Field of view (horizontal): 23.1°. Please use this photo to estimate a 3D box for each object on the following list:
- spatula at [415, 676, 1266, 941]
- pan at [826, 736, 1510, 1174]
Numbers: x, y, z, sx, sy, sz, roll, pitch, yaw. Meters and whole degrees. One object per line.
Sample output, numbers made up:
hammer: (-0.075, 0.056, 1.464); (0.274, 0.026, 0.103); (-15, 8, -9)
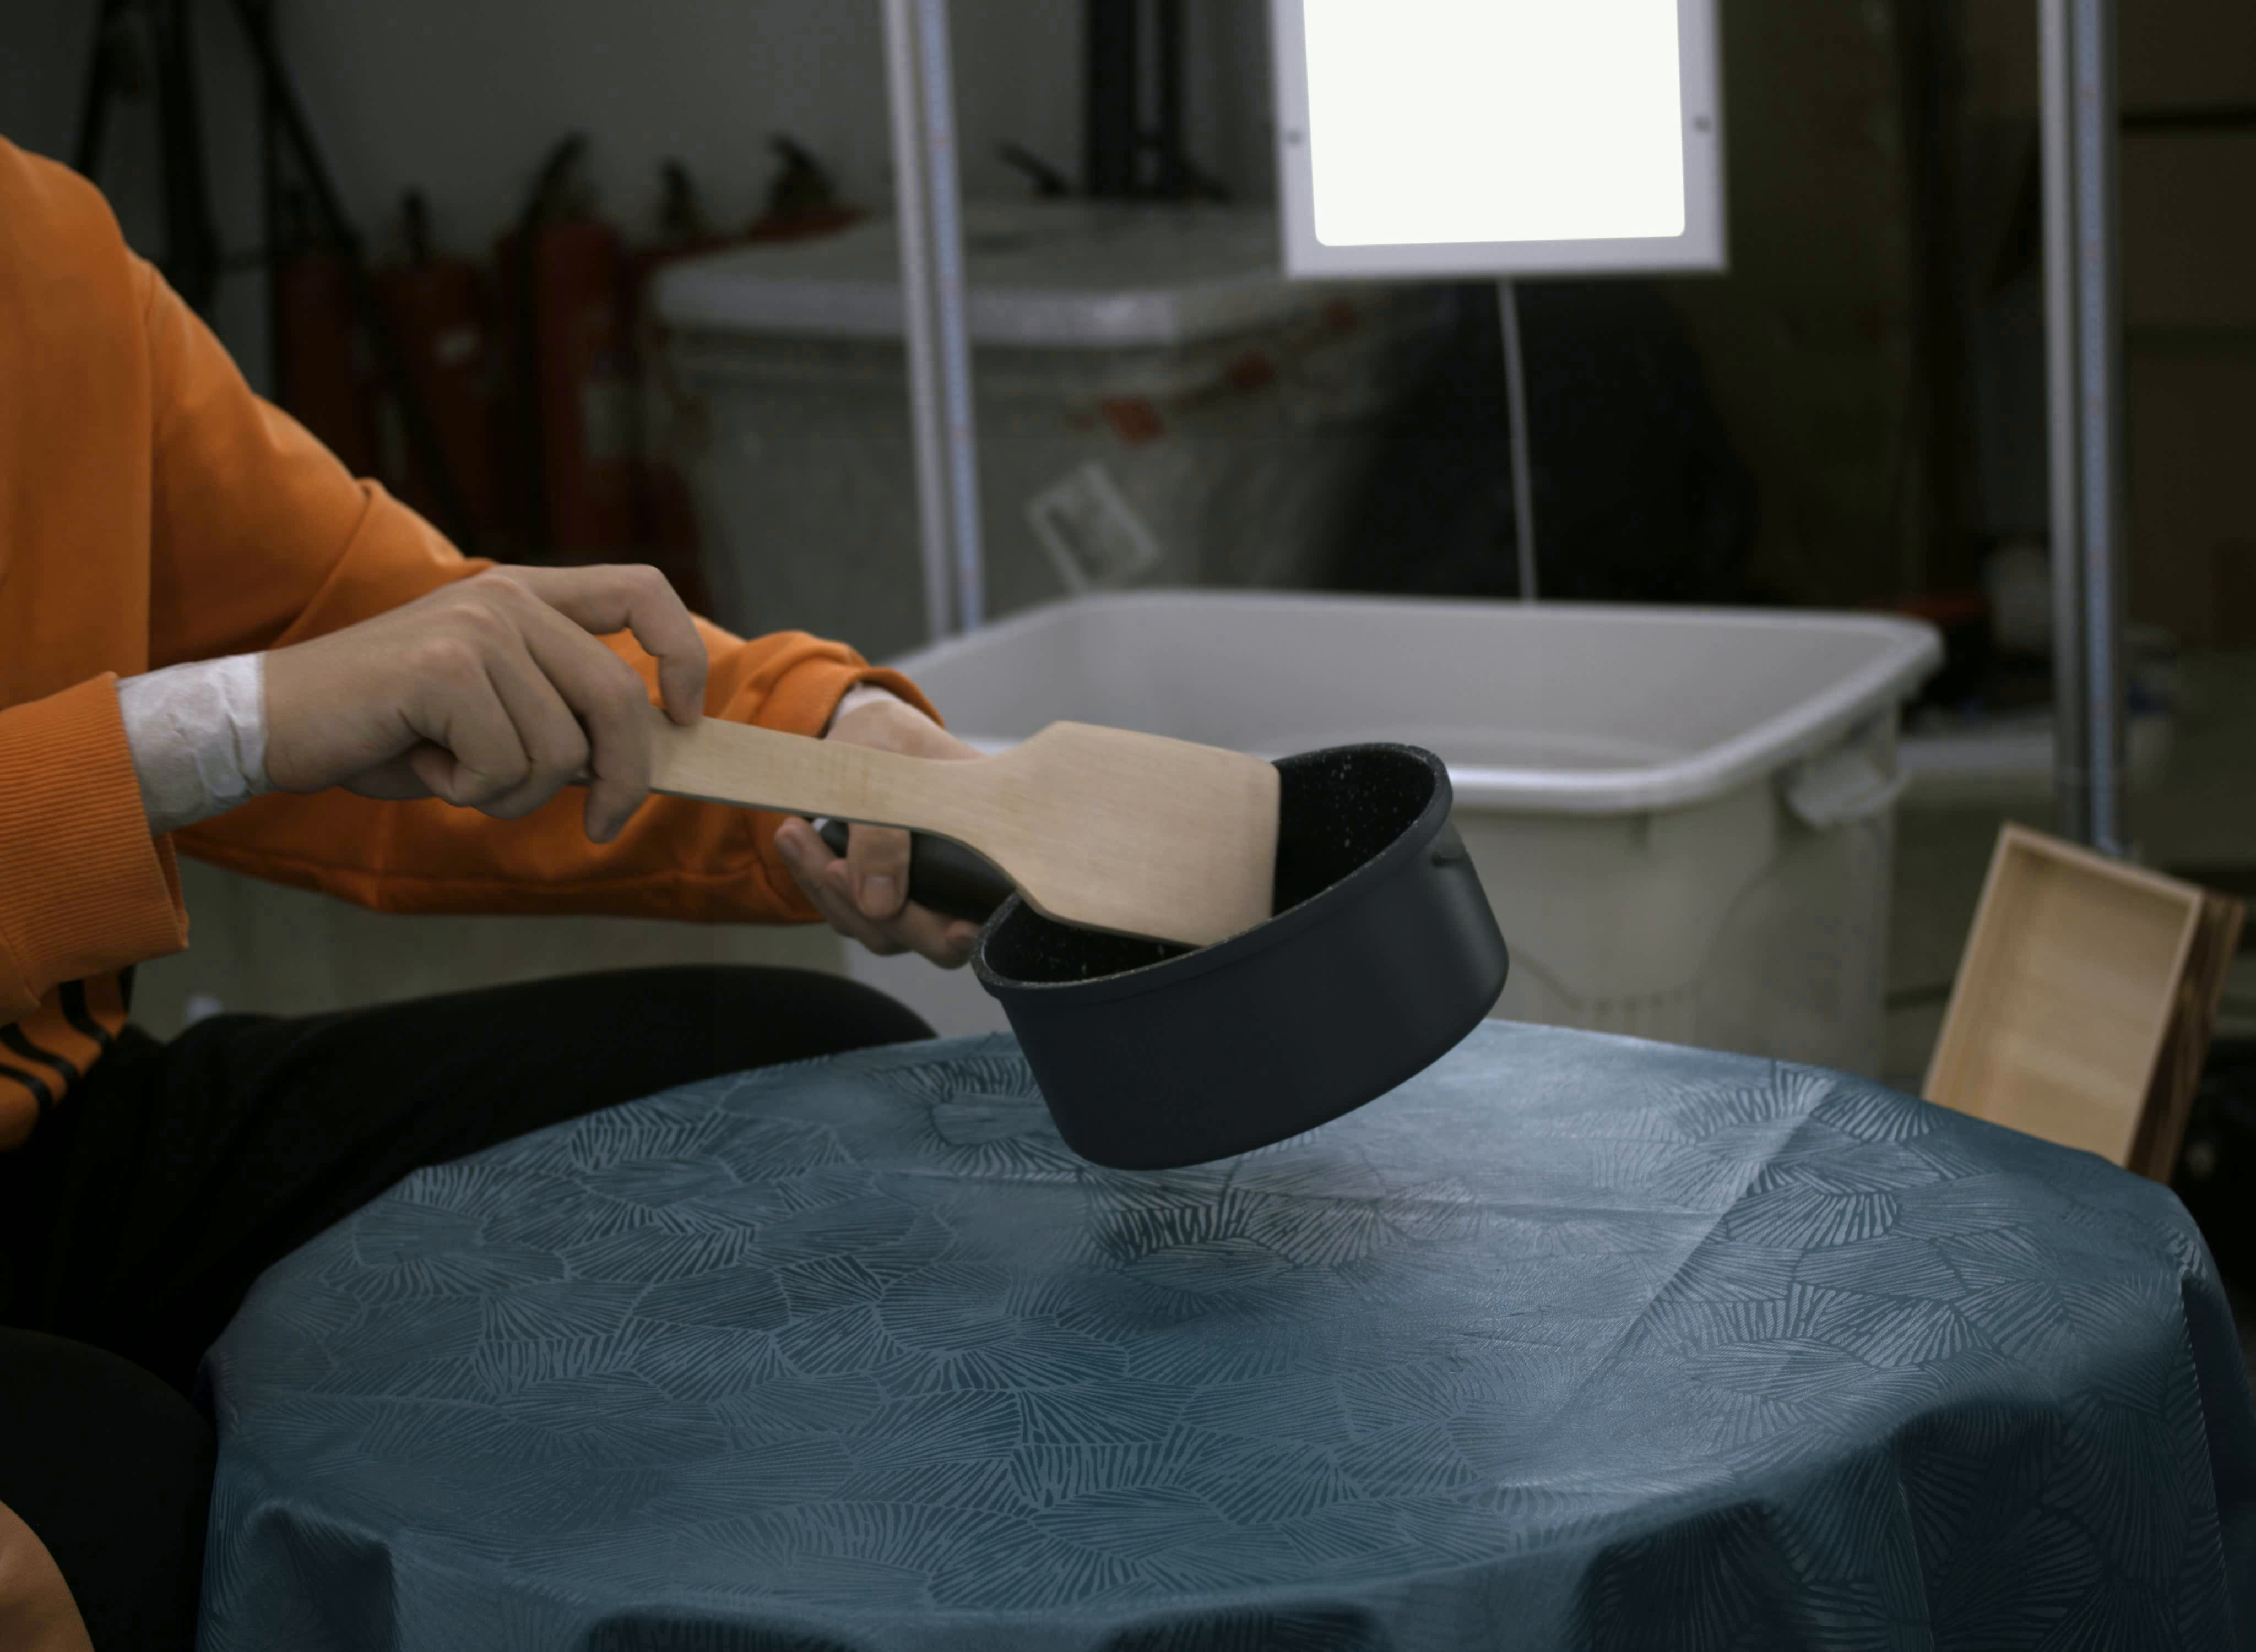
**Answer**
spatula: (-0.089, -0.015, 1.792); (0.288, 0.072, 0.011); (9, -13, -17)
pan: (-0.003, 0.038, 1.903); (0.169, 0.086, 0.335); (-31, 19, -25)
